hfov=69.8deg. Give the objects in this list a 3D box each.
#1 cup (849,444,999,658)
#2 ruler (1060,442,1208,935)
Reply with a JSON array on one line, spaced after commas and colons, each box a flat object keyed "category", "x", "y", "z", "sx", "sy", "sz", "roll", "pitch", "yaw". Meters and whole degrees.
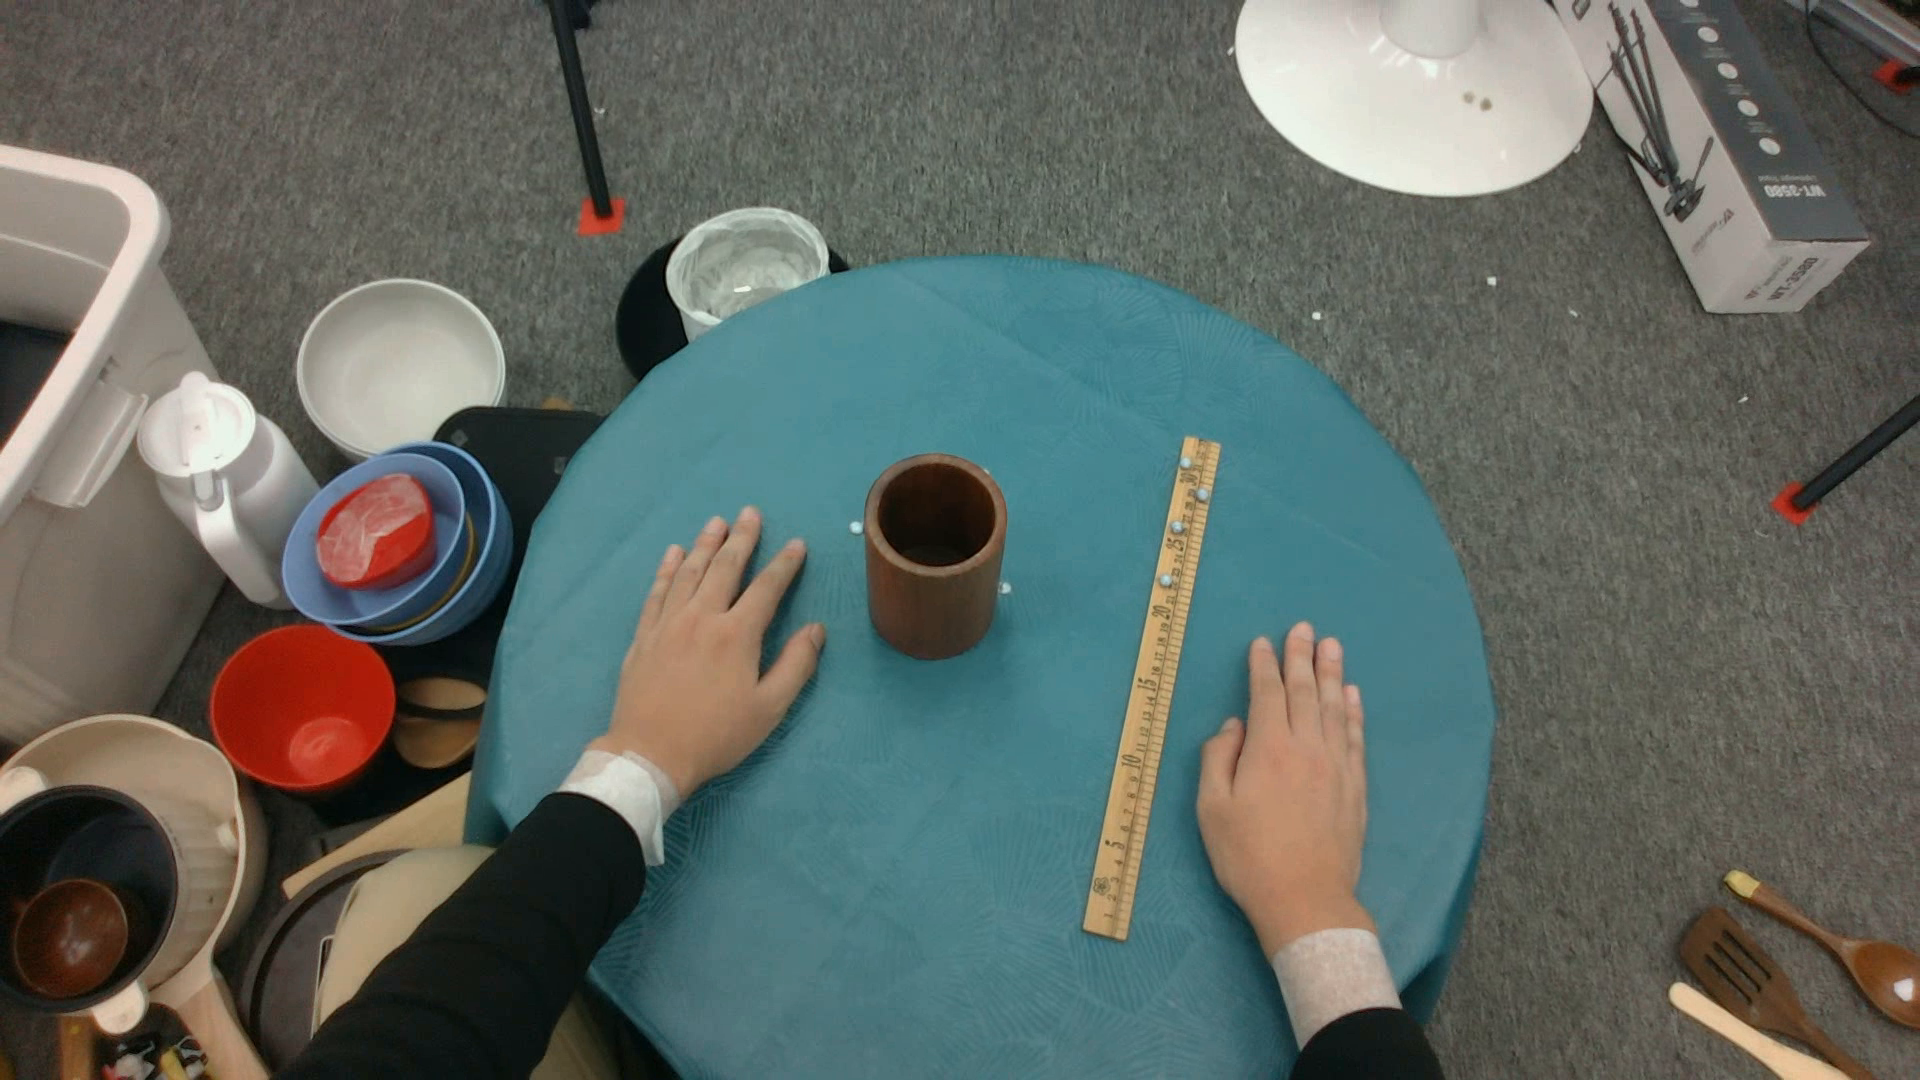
[{"category": "cup", "x": -0.022, "y": 0.008, "z": 0.799, "sx": 0.088, "sy": 0.118, "sz": 0.088, "roll": 1, "pitch": 61, "yaw": -2}, {"category": "ruler", "x": 0.111, "y": 0.073, "z": 0.832, "sx": 0.027, "sy": 0.022, "sz": 0.333, "roll": 13, "pitch": 60, "yaw": 9}]
